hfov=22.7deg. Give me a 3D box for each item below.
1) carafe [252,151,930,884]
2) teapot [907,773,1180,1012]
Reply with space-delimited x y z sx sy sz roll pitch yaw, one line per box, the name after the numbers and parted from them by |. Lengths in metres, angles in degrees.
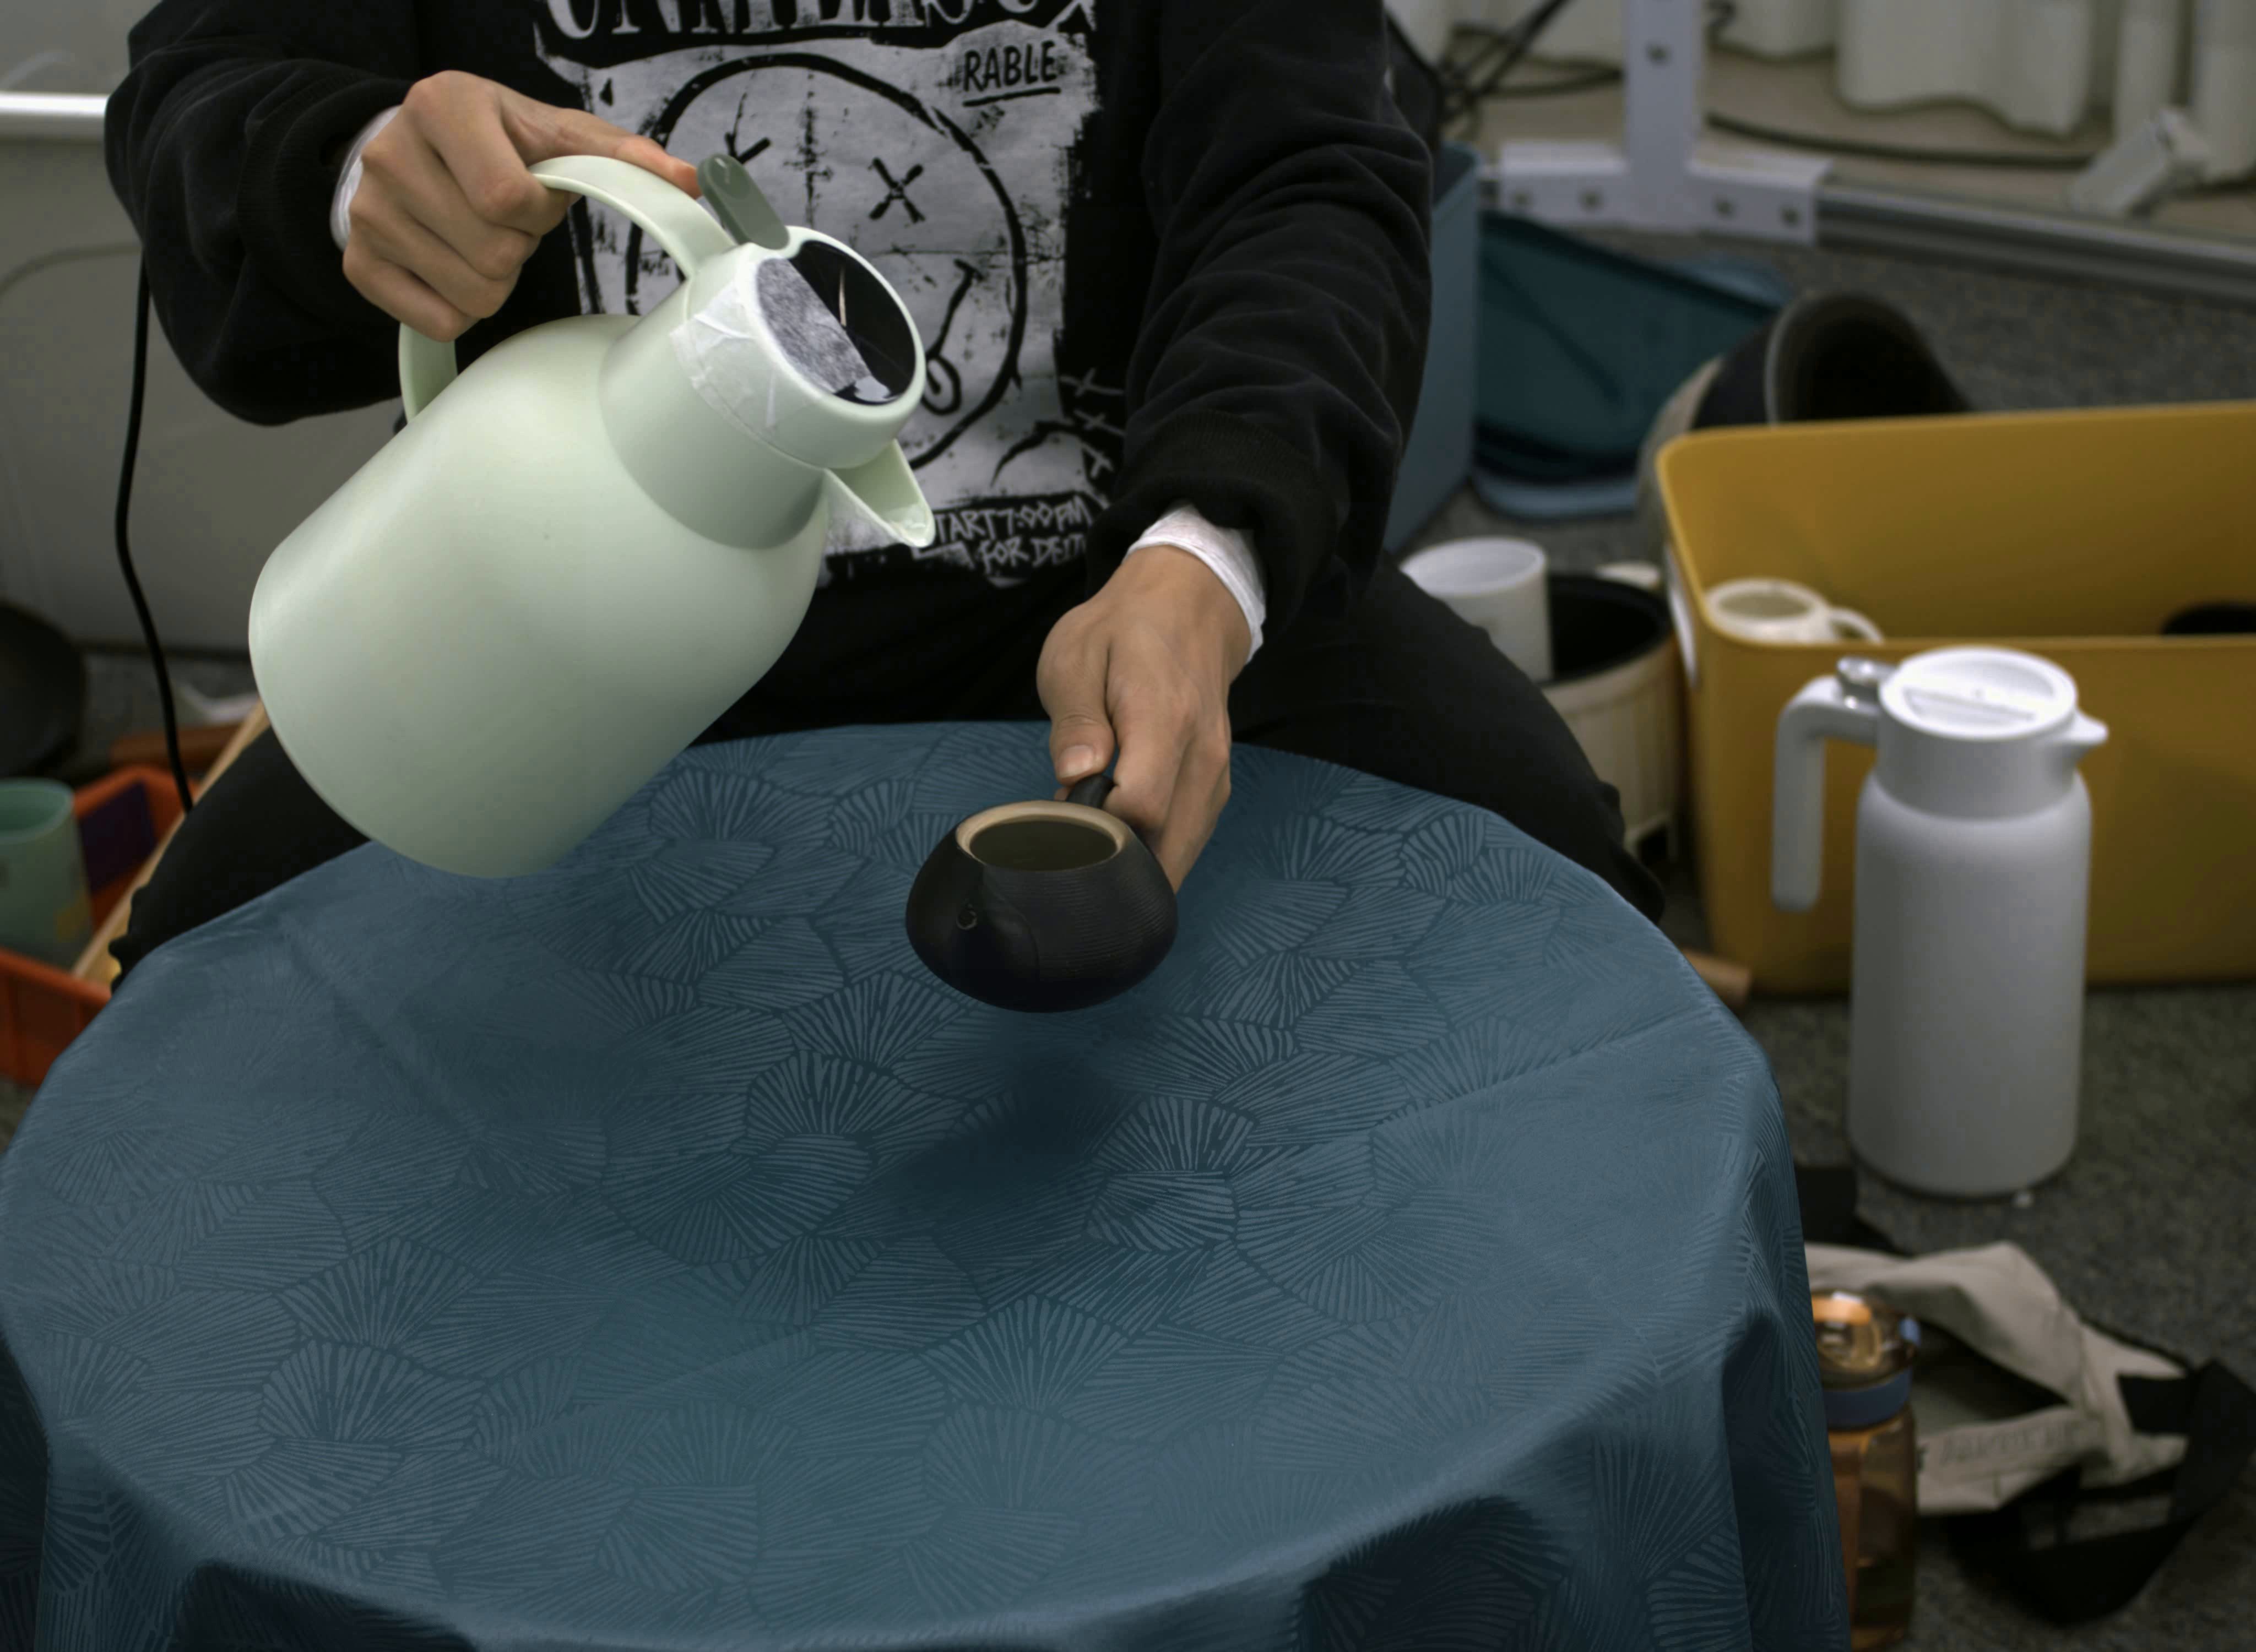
-0.180 -0.110 1.865 0.187 0.252 0.146 50 37 5 | carafe
-0.028 0.026 1.858 0.090 0.052 0.135 10 26 17 | teapot
